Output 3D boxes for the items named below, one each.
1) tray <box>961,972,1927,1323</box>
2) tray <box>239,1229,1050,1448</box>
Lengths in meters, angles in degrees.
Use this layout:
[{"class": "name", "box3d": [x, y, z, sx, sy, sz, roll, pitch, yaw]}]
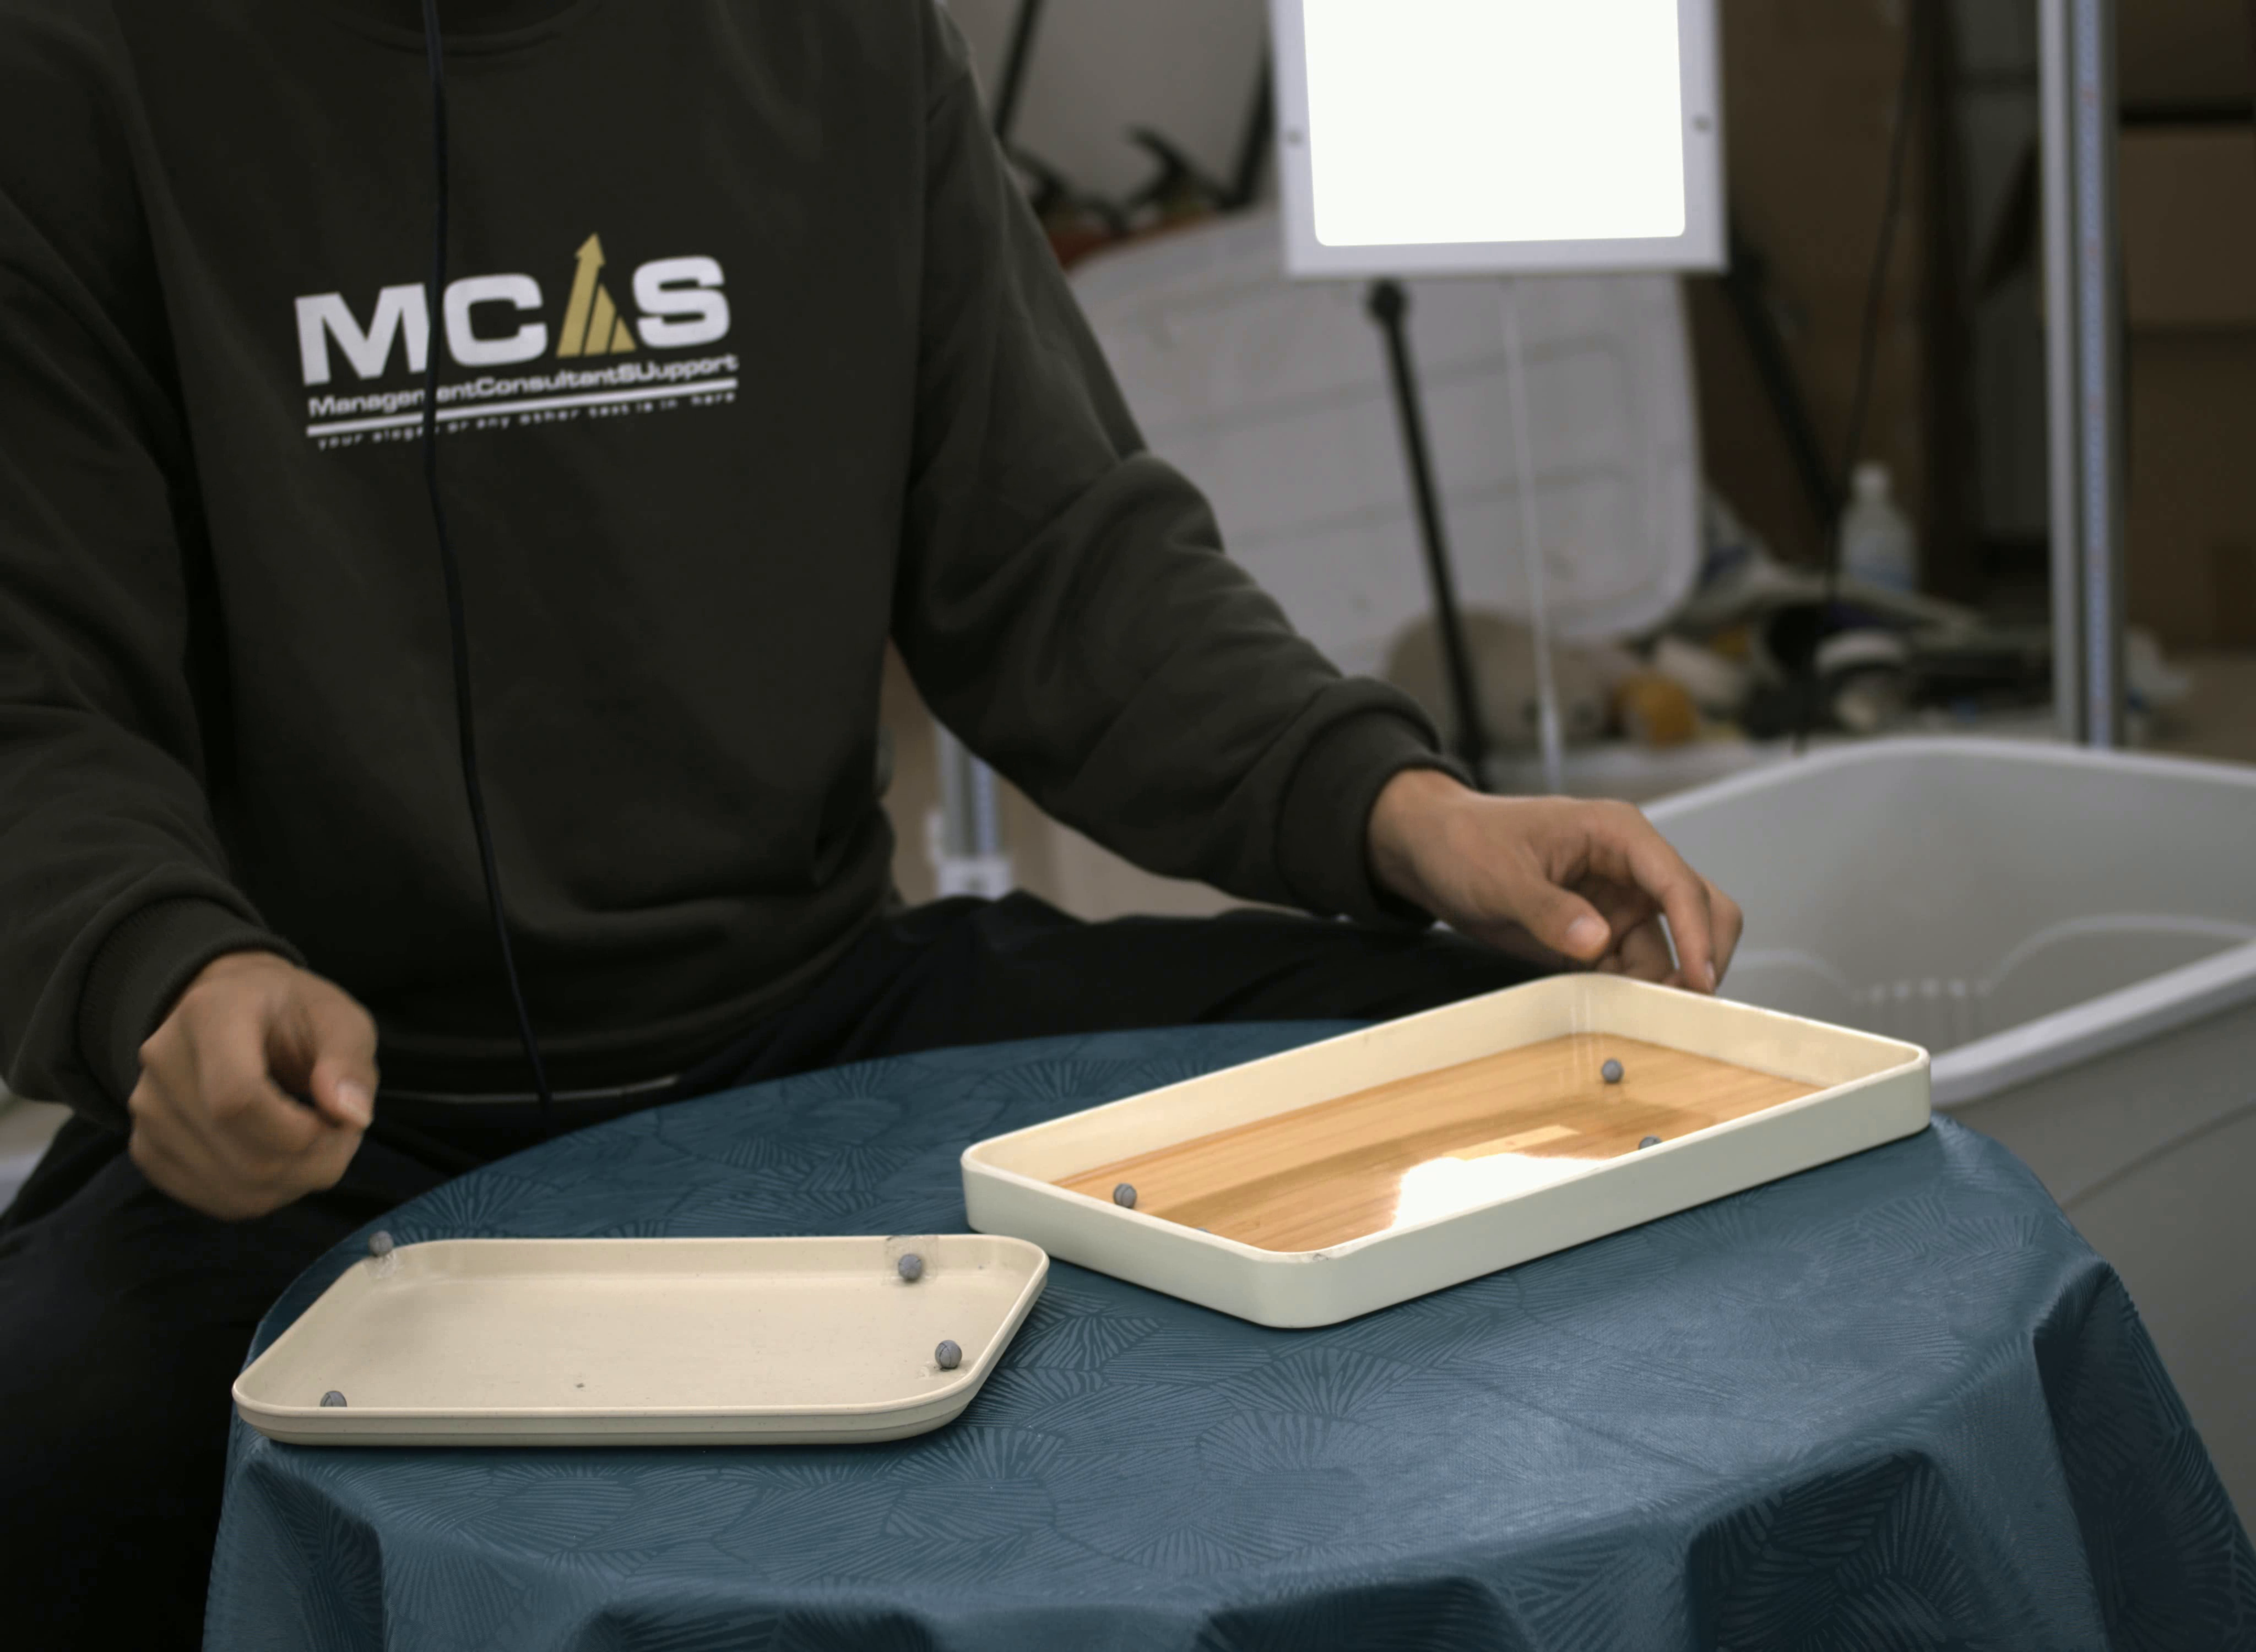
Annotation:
[{"class": "tray", "box3d": [0.111, 0.106, 1.887, 0.293, 0.027, 0.195, -14, 16, -34]}, {"class": "tray", "box3d": [-0.151, 0.164, 1.761, 0.242, 0.017, 0.169, -2, 14, 13]}]
